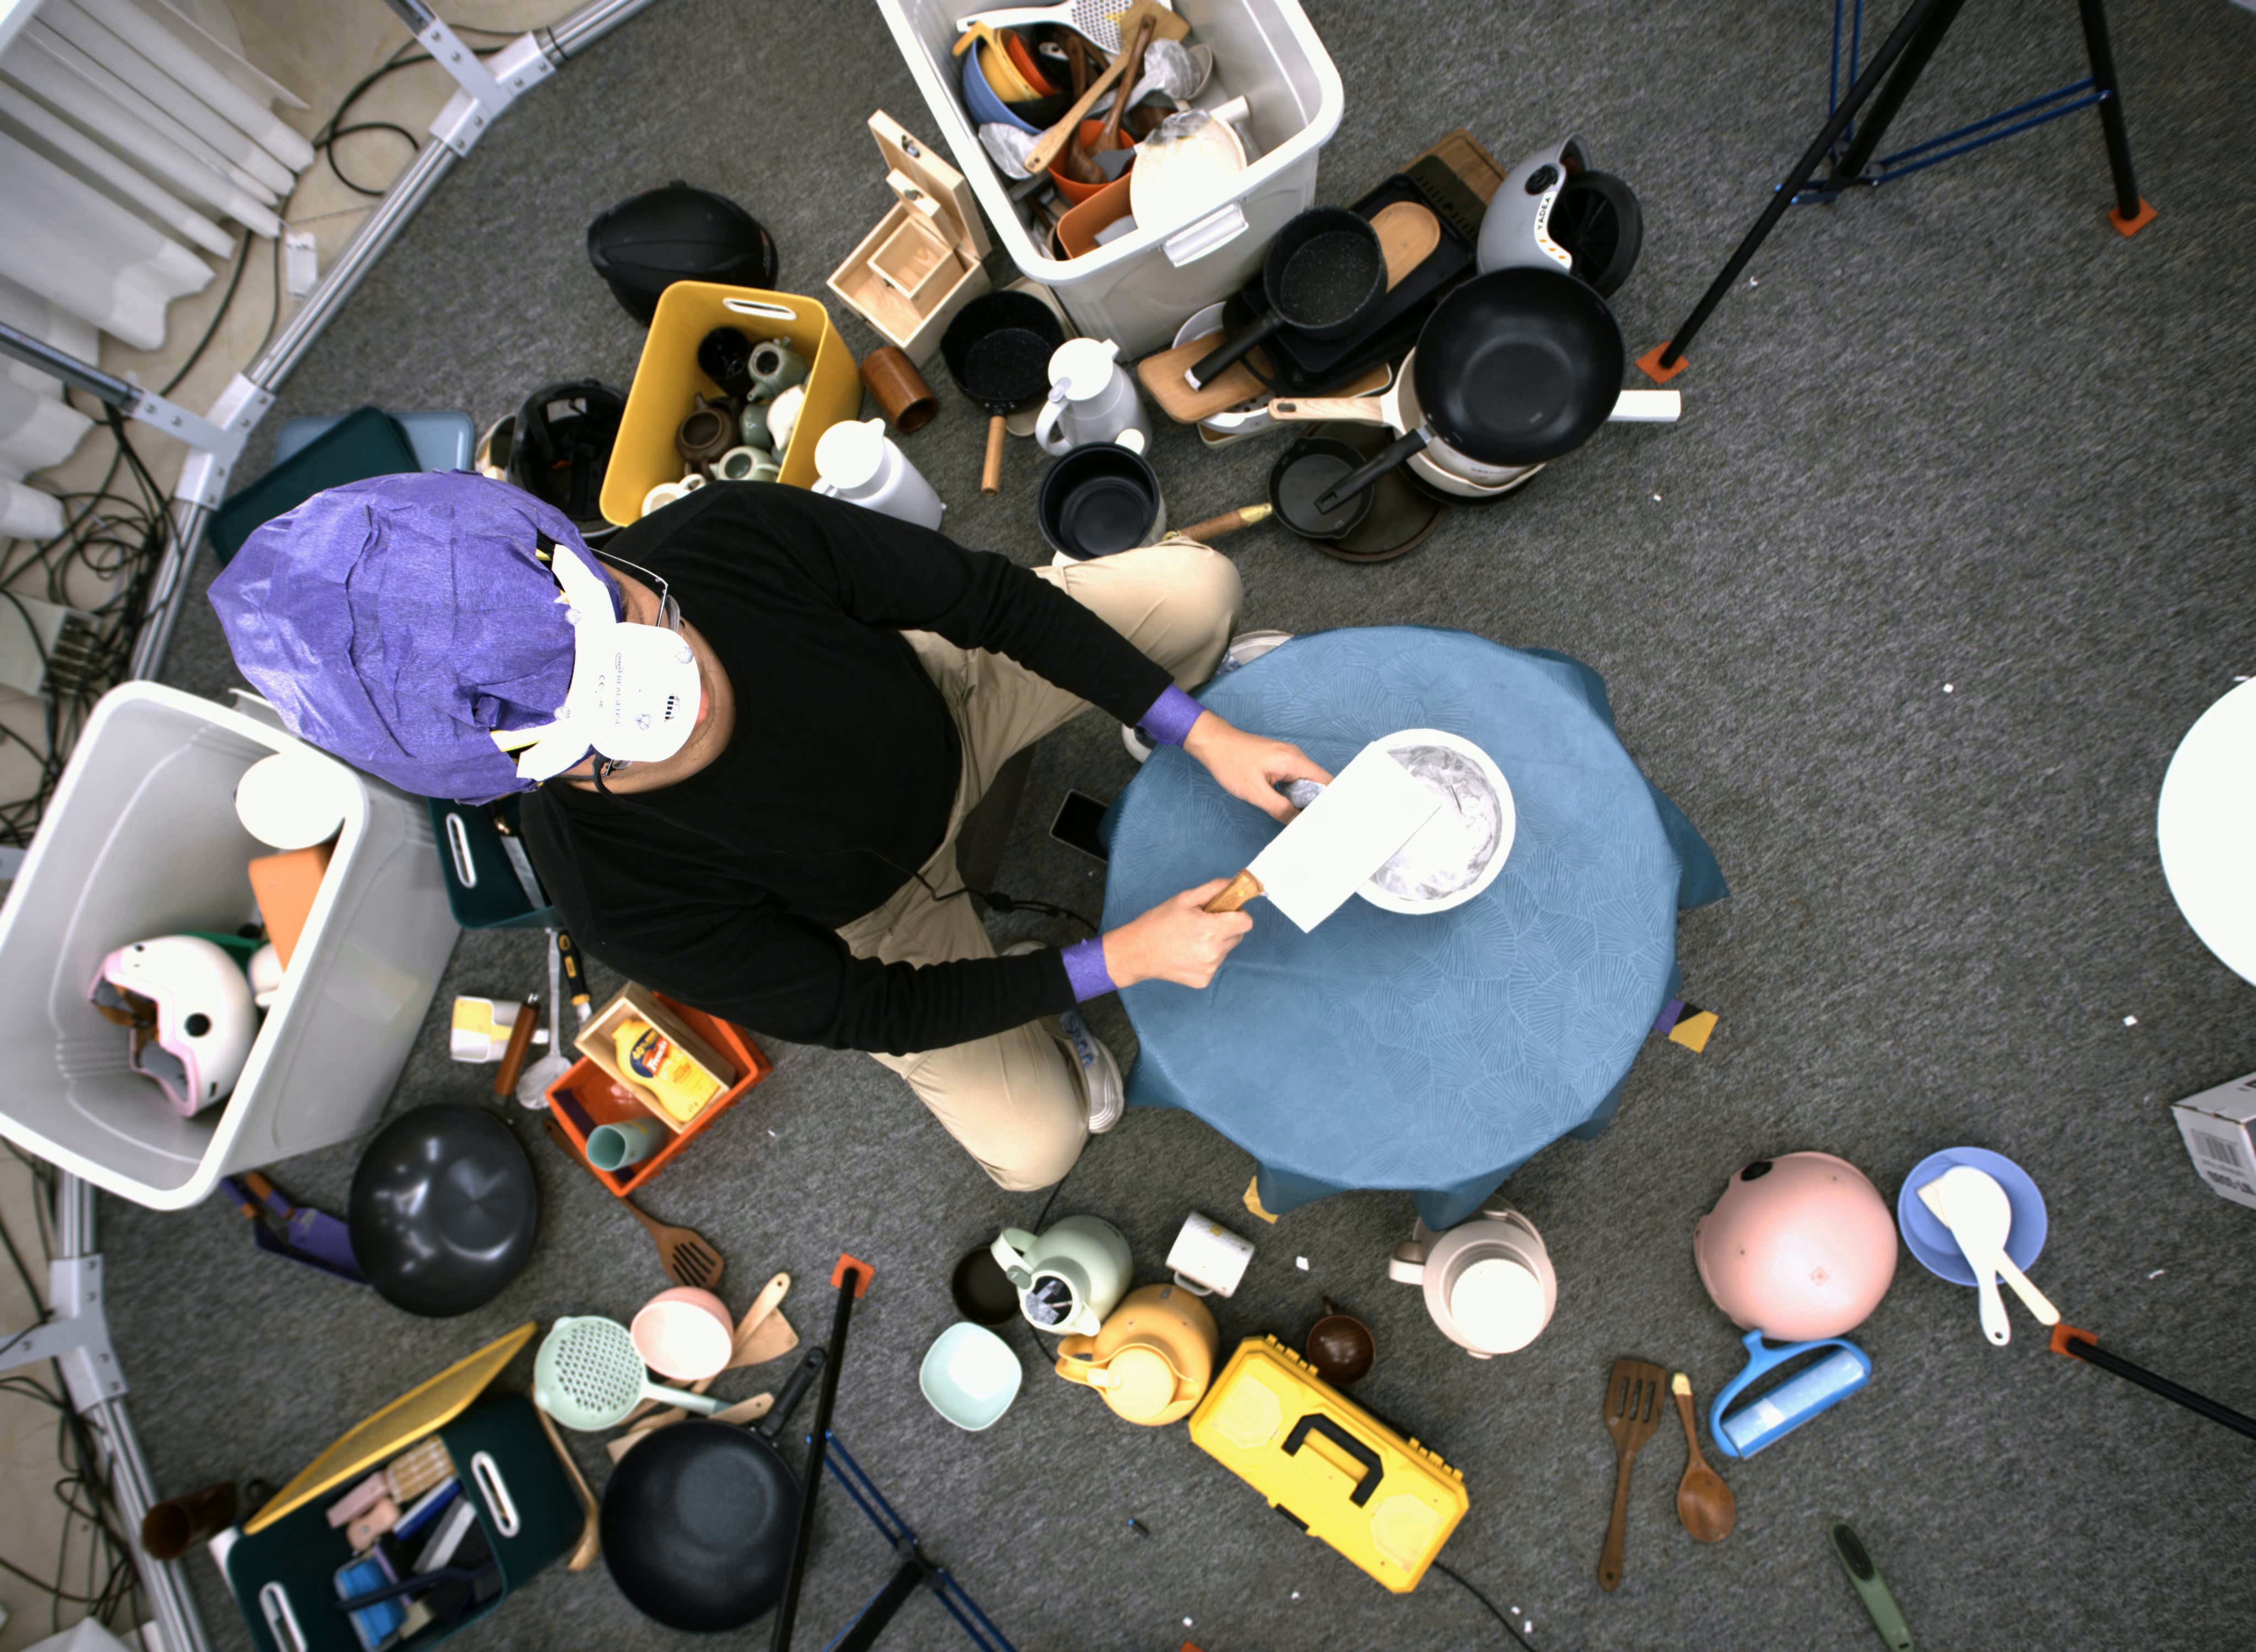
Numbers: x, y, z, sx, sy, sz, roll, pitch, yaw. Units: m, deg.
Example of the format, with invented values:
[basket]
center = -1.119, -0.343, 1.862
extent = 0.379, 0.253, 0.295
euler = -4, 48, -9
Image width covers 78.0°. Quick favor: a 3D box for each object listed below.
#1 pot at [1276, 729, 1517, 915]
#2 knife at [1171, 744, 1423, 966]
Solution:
[pot]
center = 0.264, -0.007, 1.391
extent = 0.234, 0.137, 0.178
euler = 13, 88, 7
[knife]
center = 0.164, 0.049, 1.347
extent = 0.093, 0.020, 0.312
euler = 42, 118, -2
